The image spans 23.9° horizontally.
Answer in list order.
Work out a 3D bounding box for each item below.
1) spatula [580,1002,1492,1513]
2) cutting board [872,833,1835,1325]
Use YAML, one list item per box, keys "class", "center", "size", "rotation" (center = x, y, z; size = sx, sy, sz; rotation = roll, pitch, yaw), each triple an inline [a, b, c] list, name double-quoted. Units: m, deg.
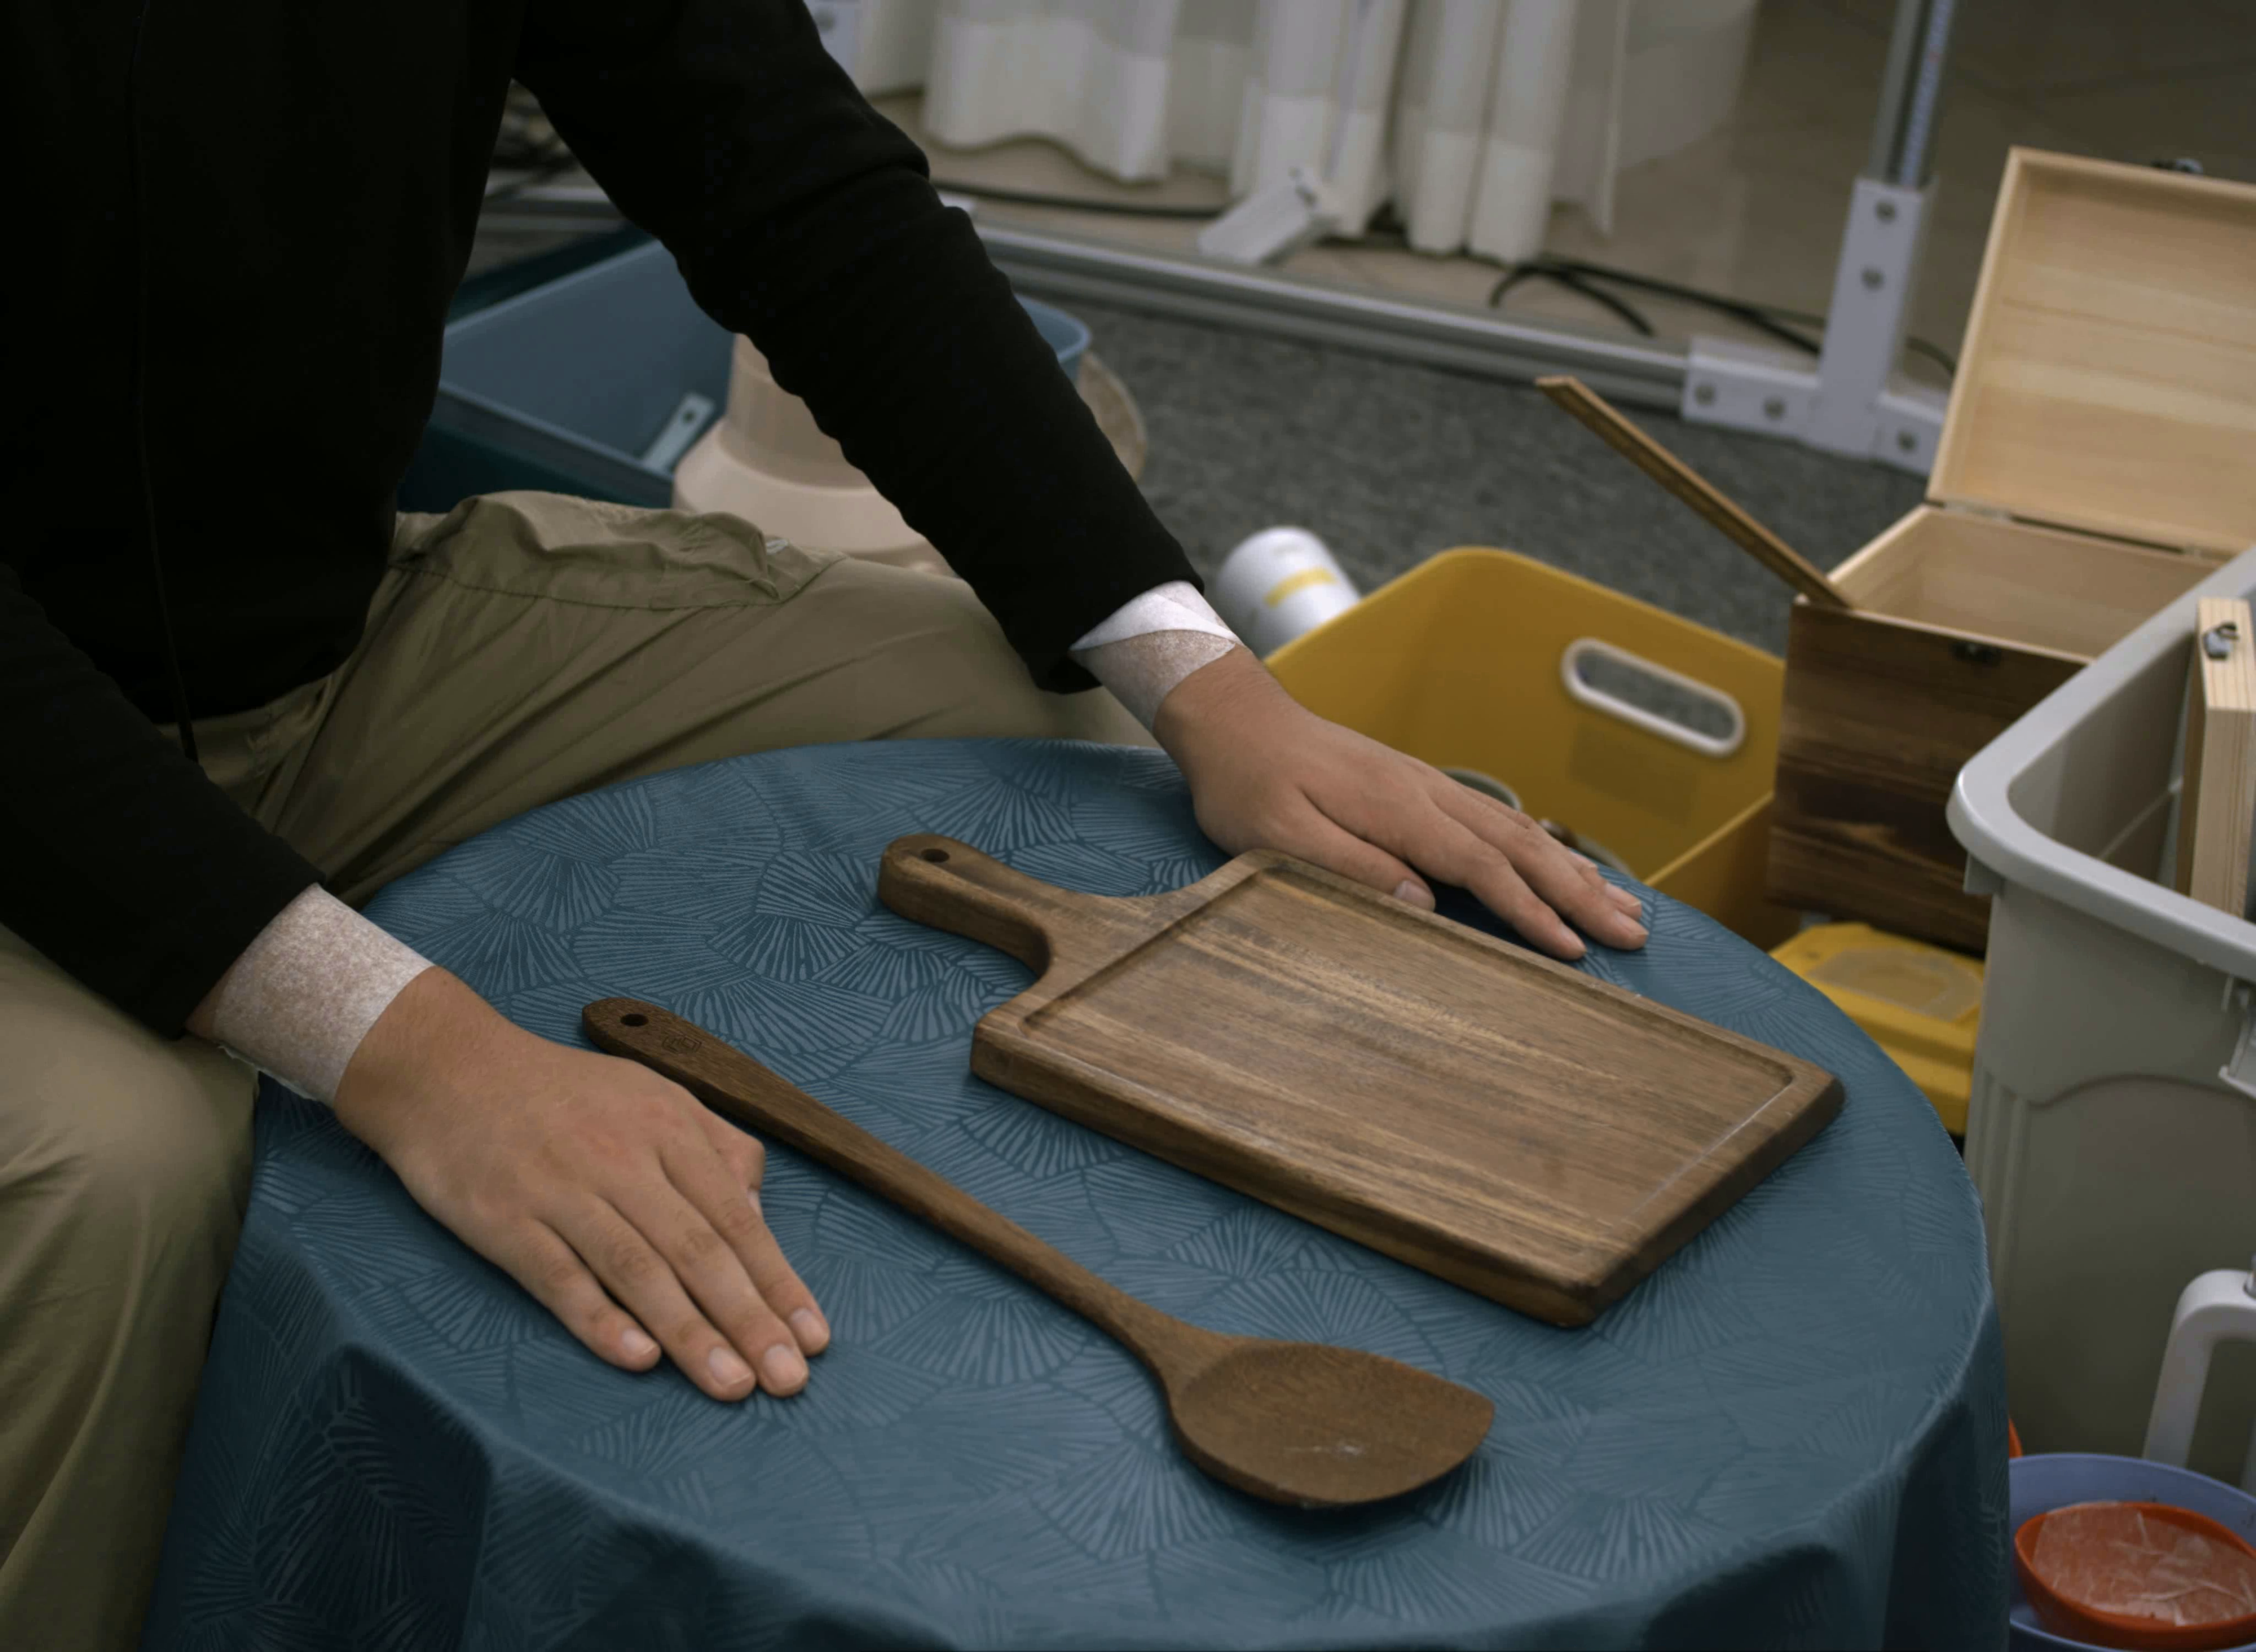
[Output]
- class: "spatula"
  center: [-0.047, 0.134, 1.755]
  size: [0.389, 0.016, 0.095]
  rotation: [27, 33, 35]
- class: "cutting board"
  center: [0.057, 0.070, 1.897]
  size: [0.354, 0.023, 0.200]
  rotation: [21, 30, 27]
